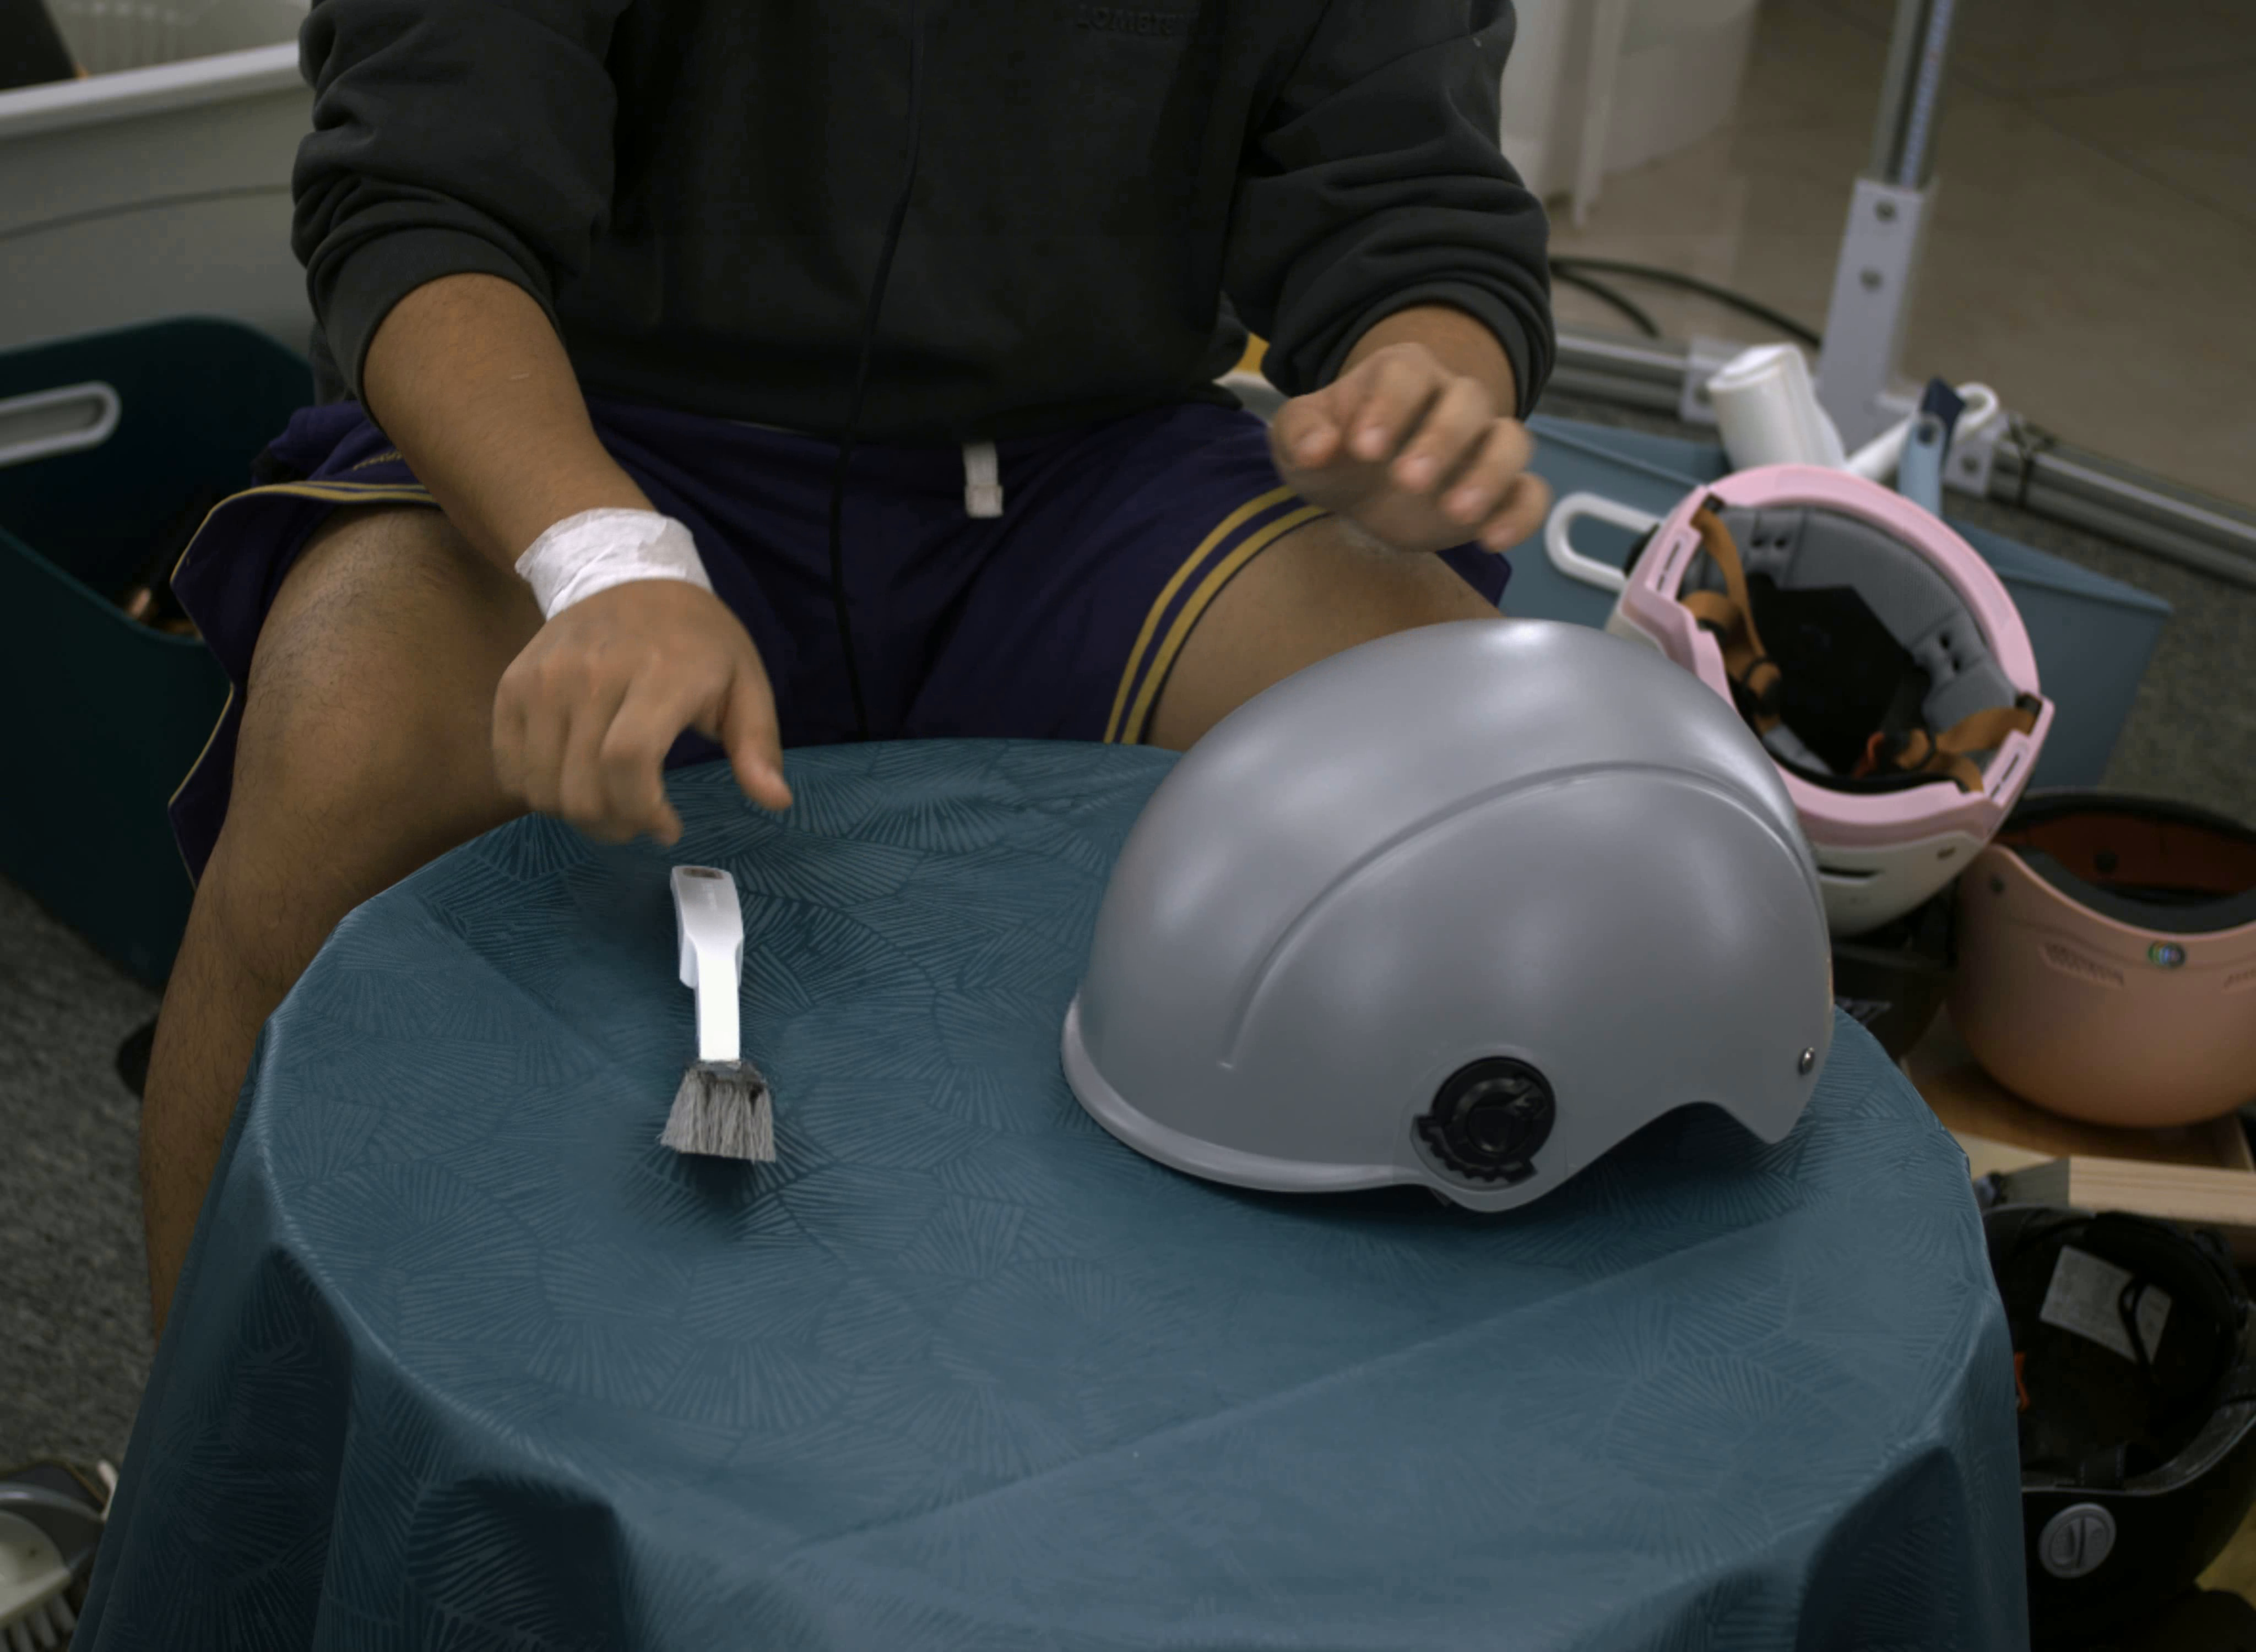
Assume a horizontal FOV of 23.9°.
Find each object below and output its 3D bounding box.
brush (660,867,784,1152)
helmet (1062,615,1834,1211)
[{"bbox_3d":[-0.147,0.067,1.854,0.034,0.050,0.245,6,14,-10],"label":"brush"},{"bbox_3d":[0.116,0.015,1.862,0.274,0.168,0.234,-7,29,-20],"label":"helmet"}]
